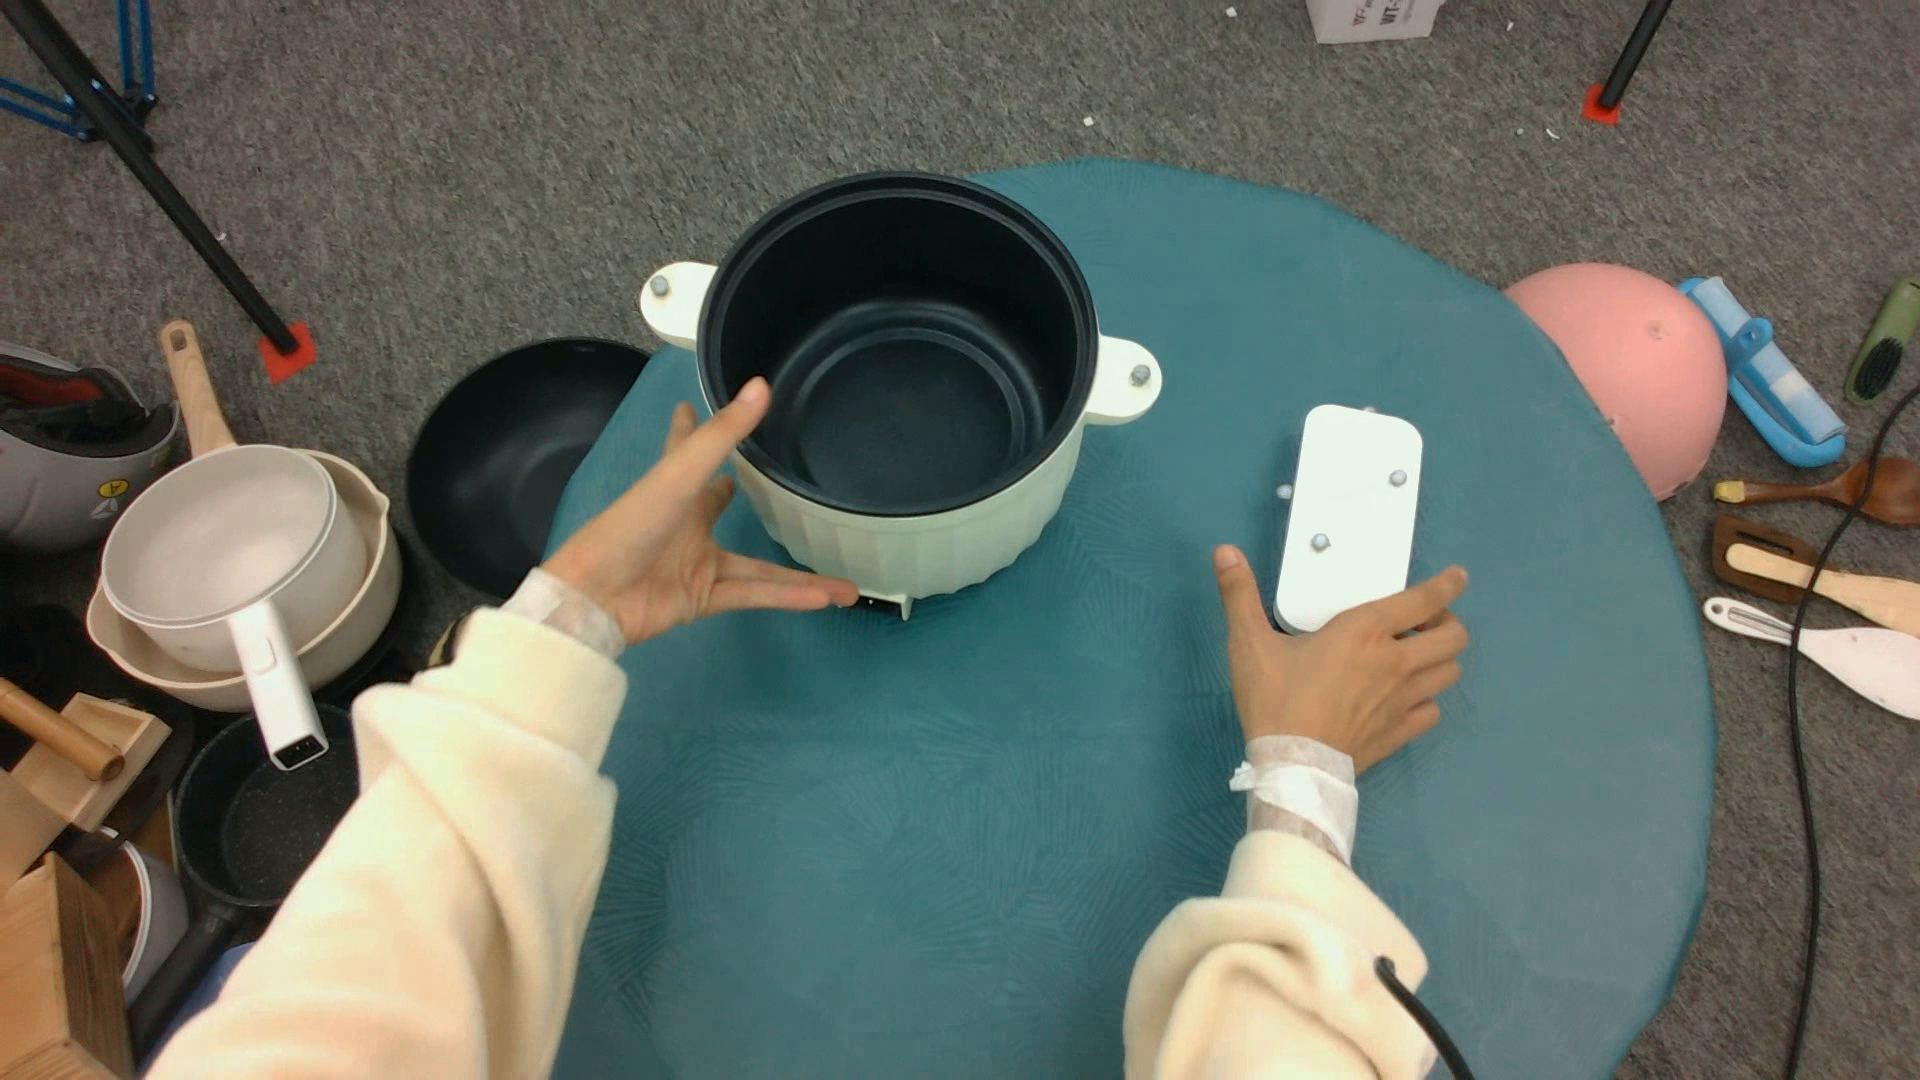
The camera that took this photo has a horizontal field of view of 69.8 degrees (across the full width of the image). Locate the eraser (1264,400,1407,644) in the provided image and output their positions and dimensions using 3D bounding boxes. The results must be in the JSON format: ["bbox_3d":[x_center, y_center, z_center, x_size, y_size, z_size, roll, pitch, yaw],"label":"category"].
[{"bbox_3d":[0.193,-0.012,0.714,0.063,0.034,0.132,12,66,7],"label":"eraser"}]

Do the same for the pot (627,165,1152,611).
[{"bbox_3d":[-0.033,-0.075,0.680,0.240,0.142,0.191,10,69,3],"label":"pot"}]
